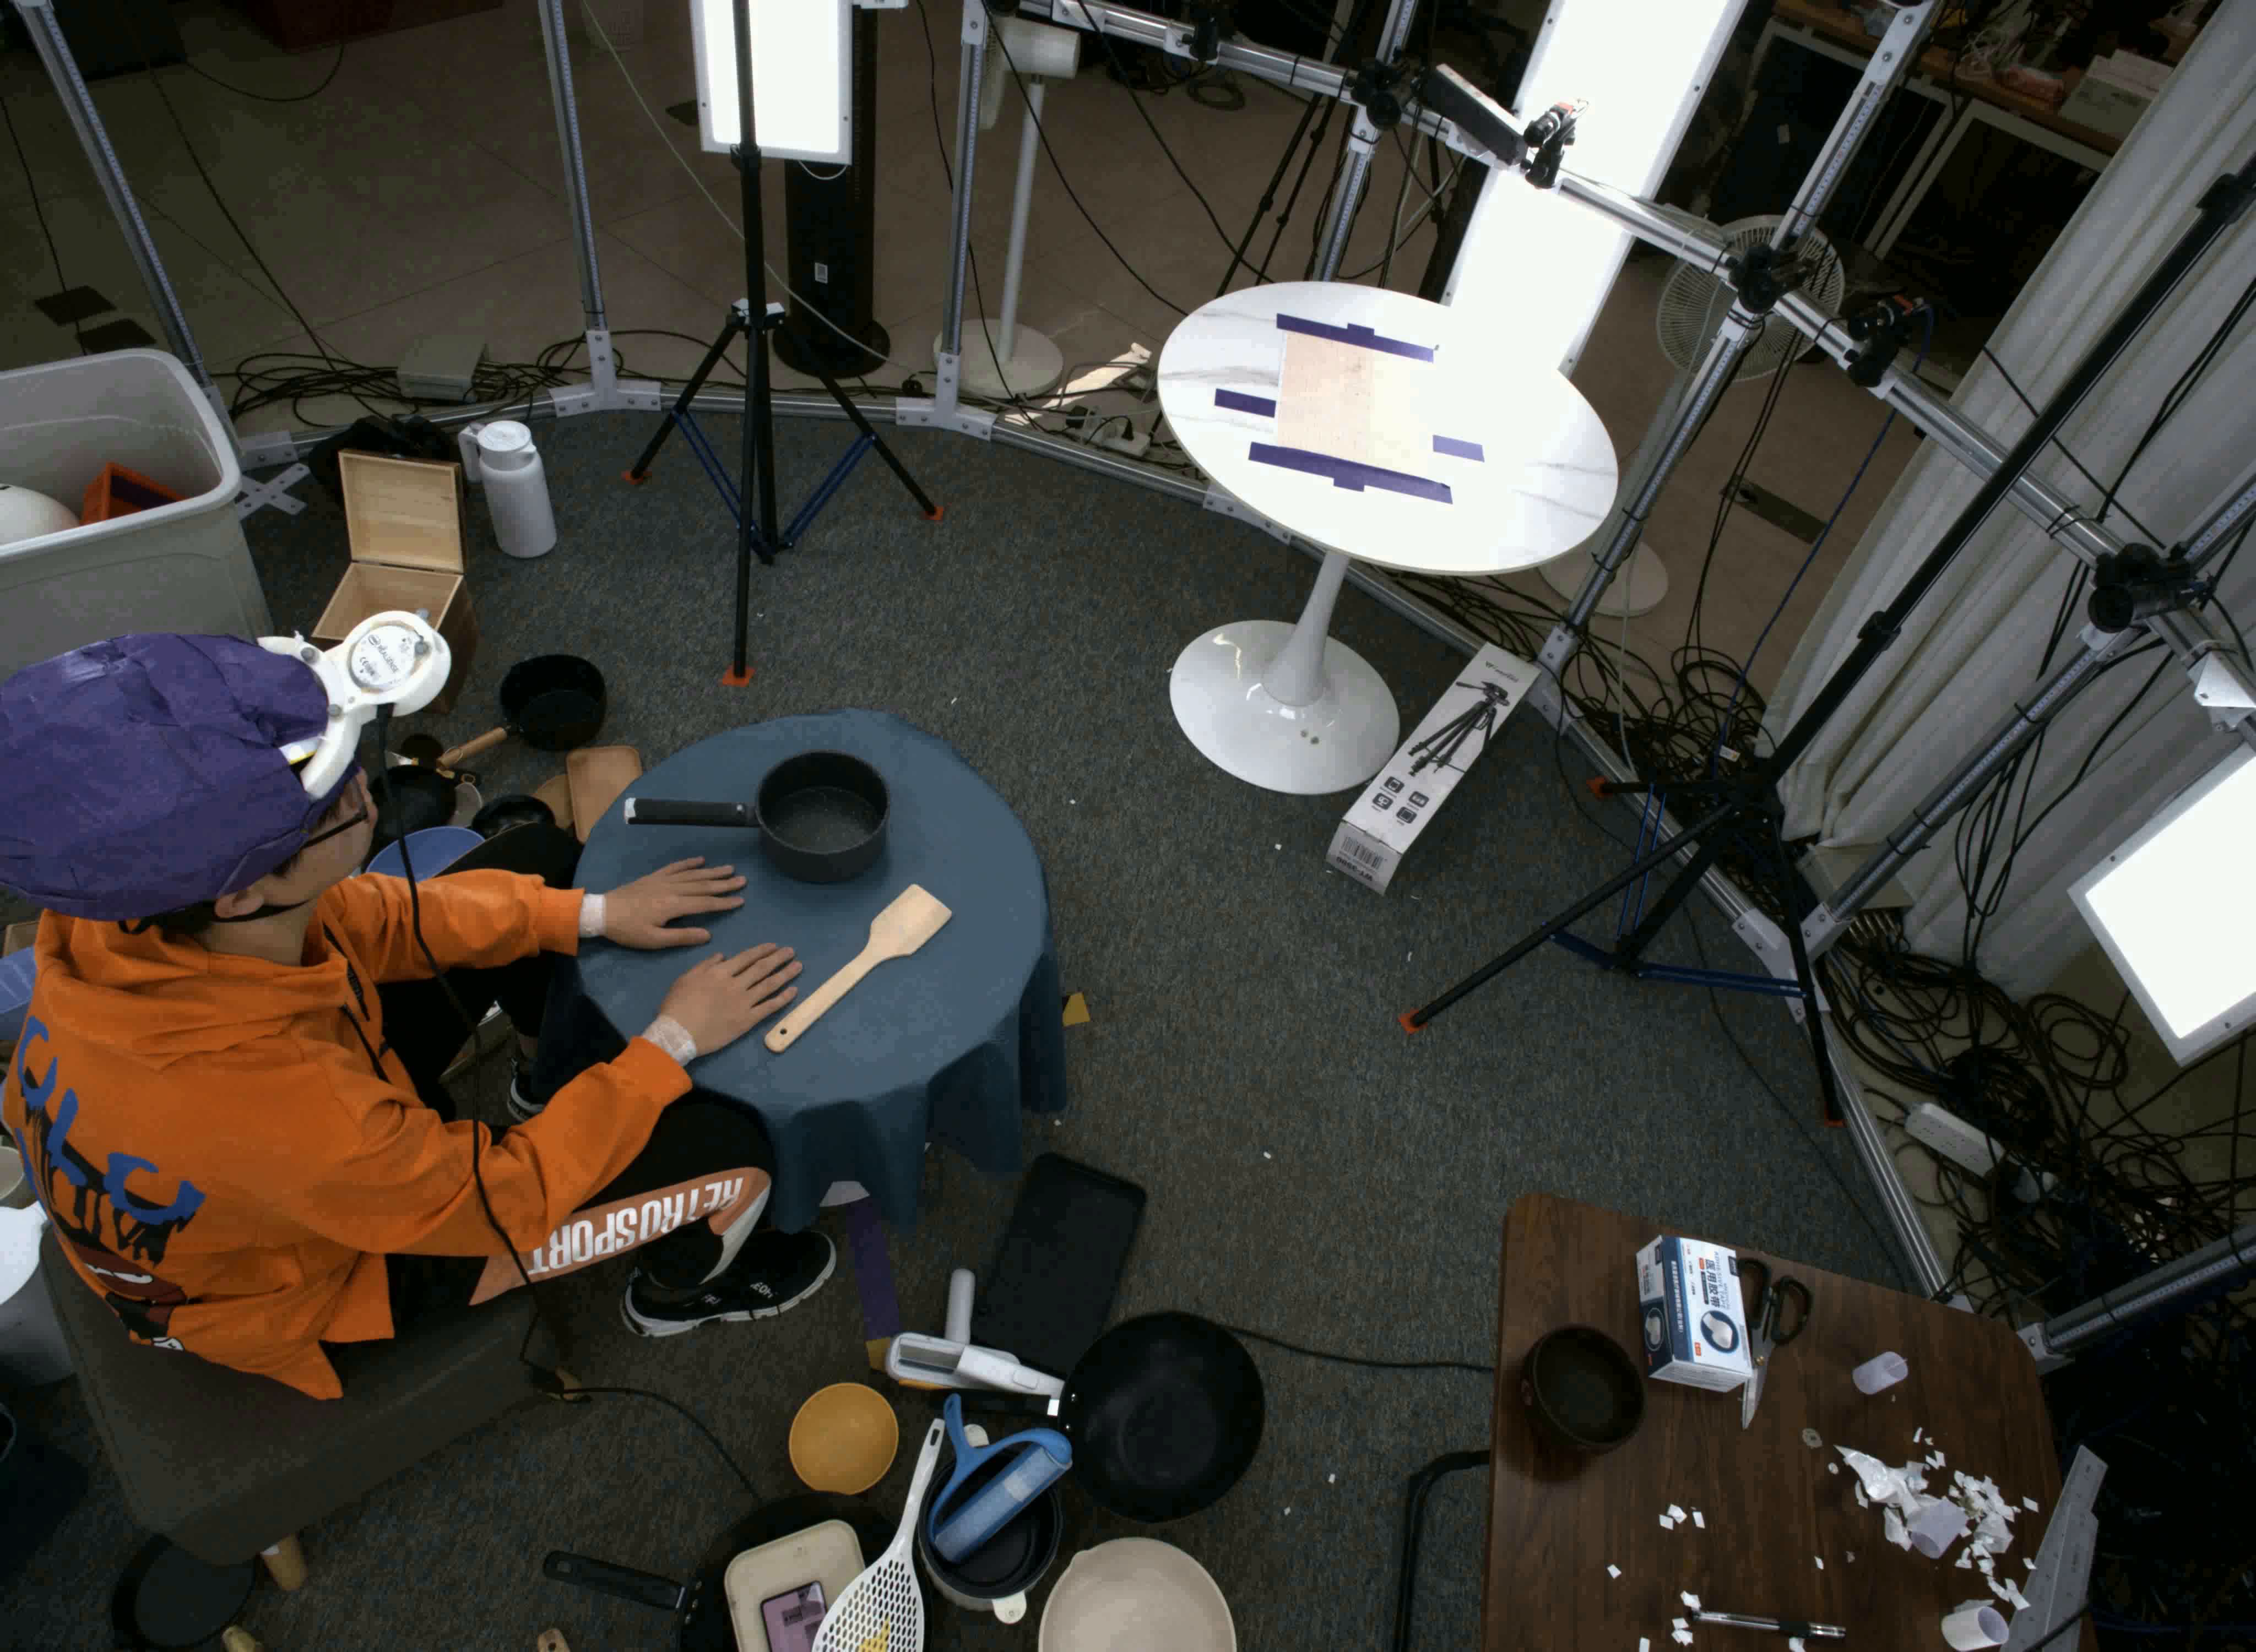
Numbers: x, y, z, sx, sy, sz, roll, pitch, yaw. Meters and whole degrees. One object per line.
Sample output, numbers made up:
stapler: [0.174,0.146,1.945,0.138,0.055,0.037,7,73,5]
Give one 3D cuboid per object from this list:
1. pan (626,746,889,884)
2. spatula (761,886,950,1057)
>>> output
pan: [-0.473,-0.012,1.655,0.330,0.088,0.168,-1,53,-17]
spatula: [-0.337,0.179,1.597,0.071,0.011,0.293,38,54,10]
